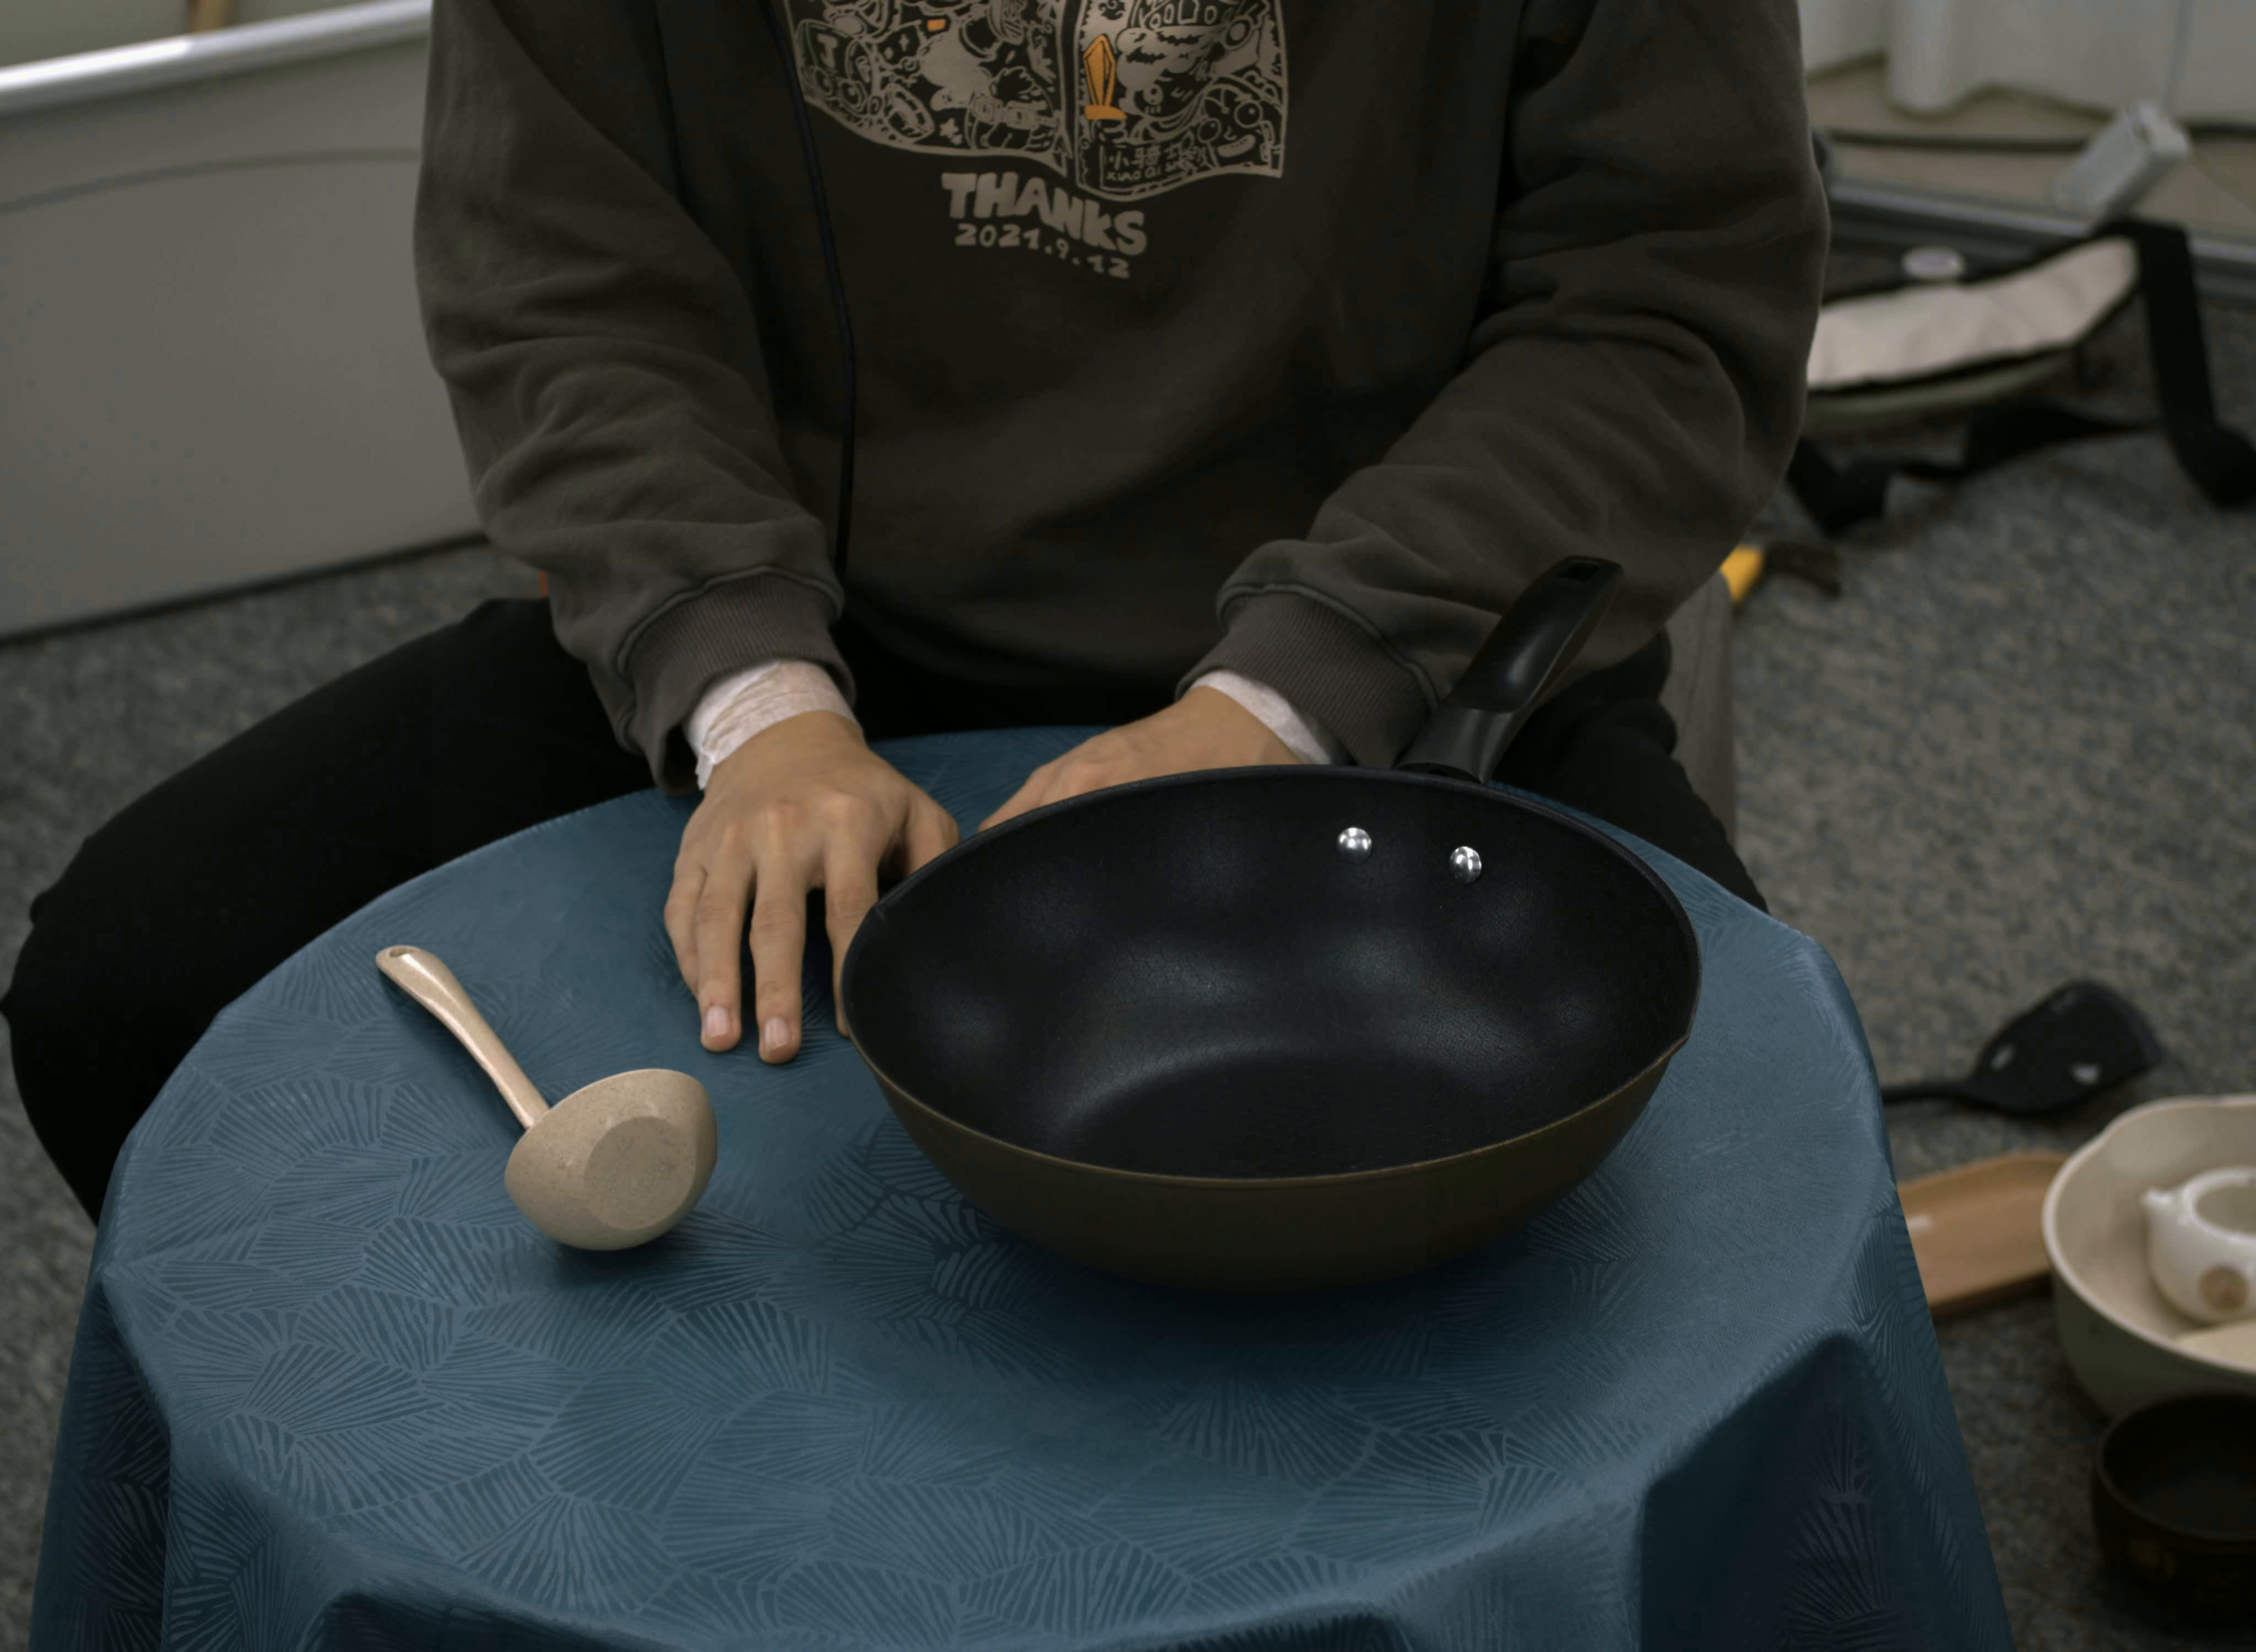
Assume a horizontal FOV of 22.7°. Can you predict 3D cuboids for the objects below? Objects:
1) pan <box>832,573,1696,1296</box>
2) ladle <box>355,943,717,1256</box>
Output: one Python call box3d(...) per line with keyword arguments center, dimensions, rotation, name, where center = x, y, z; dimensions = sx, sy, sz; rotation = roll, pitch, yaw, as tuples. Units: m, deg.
box3d(center=(0.082, 0.038, 1.925), dimensions=(0.286, 0.086, 0.471), rotation=(9, 29, 22), name="pan")
box3d(center=(-0.216, 0.066, 1.910), dimensions=(0.072, 0.072, 0.256), rotation=(-18, 32, -23), name="ladle")
